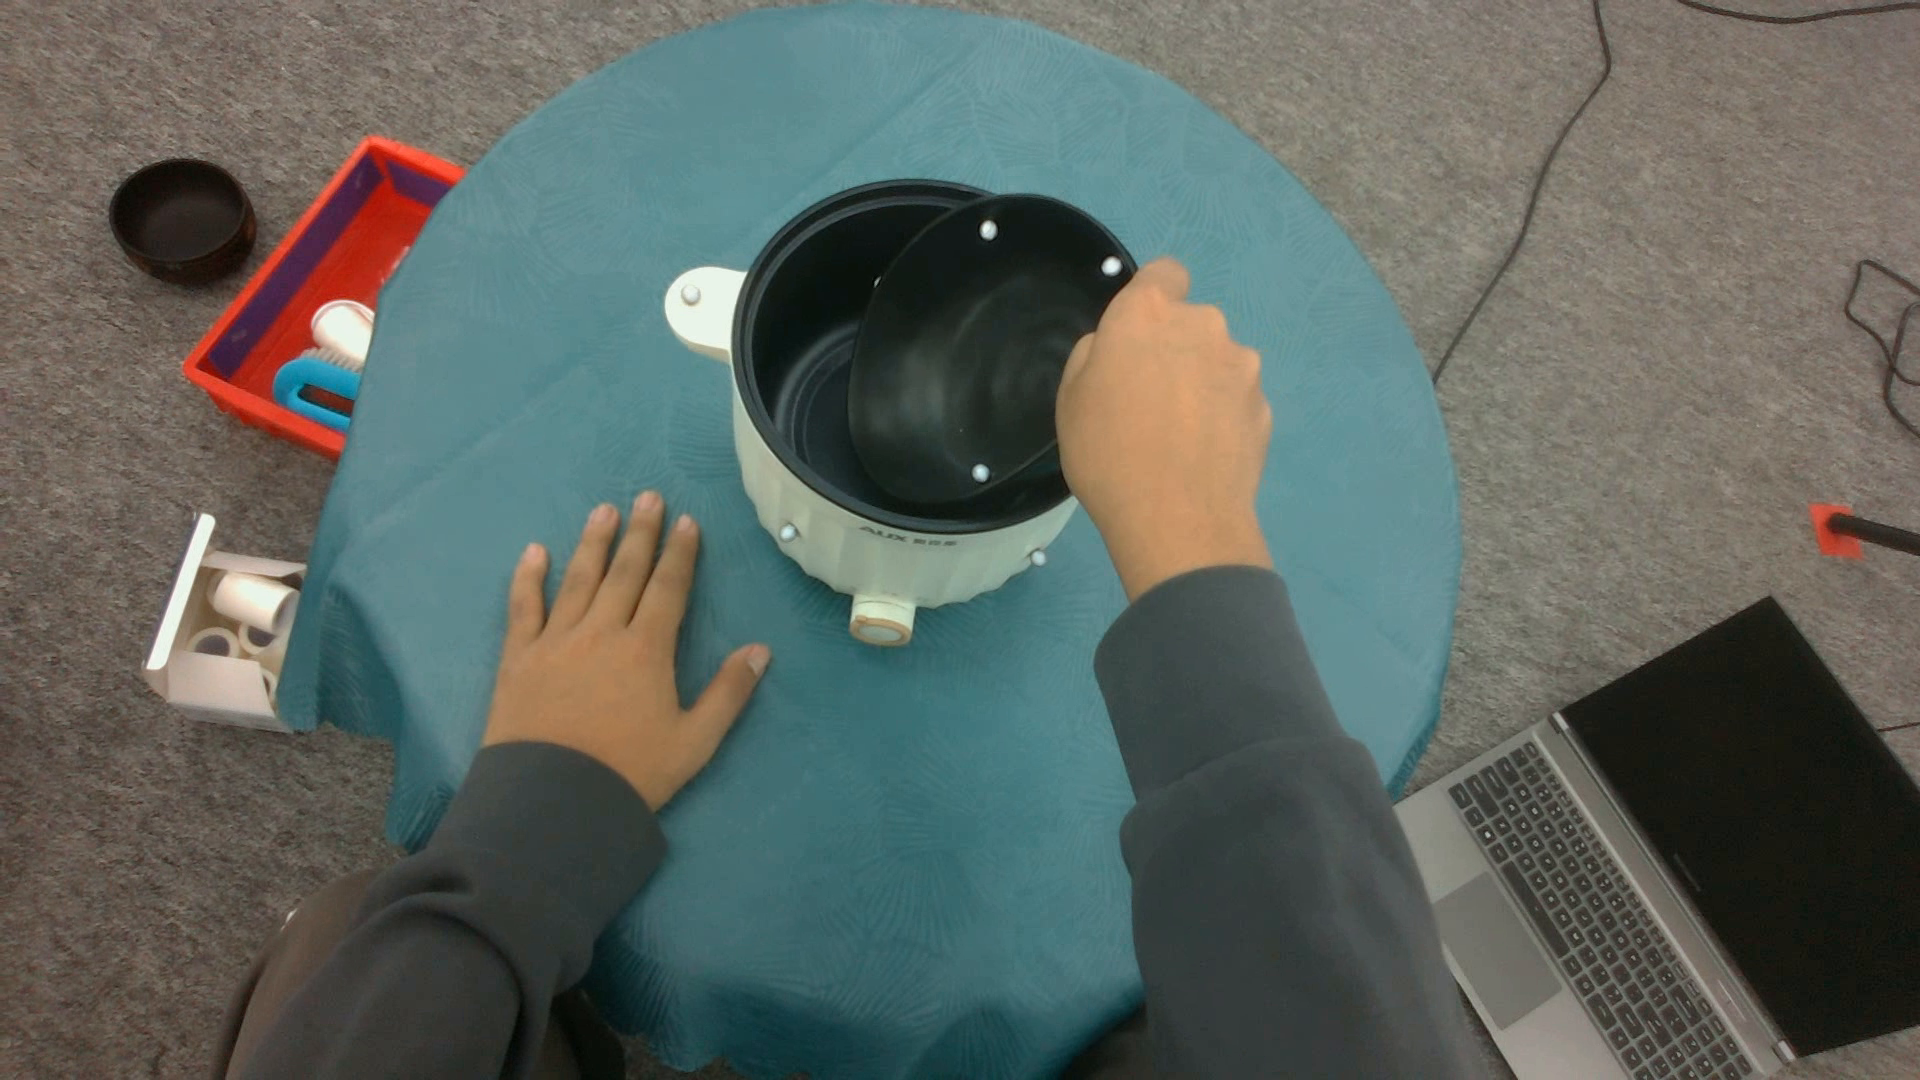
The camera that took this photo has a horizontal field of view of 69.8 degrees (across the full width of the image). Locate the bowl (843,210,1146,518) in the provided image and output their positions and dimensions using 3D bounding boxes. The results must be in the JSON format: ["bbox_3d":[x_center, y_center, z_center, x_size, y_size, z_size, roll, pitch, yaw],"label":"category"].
[{"bbox_3d":[0.022,-0.076,0.635,0.067,0.169,0.137,11,66,-46],"label":"bowl"}]

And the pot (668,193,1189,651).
[{"bbox_3d":[-0.019,-0.053,0.684,0.240,0.142,0.191,6,63,-4],"label":"pot"}]
